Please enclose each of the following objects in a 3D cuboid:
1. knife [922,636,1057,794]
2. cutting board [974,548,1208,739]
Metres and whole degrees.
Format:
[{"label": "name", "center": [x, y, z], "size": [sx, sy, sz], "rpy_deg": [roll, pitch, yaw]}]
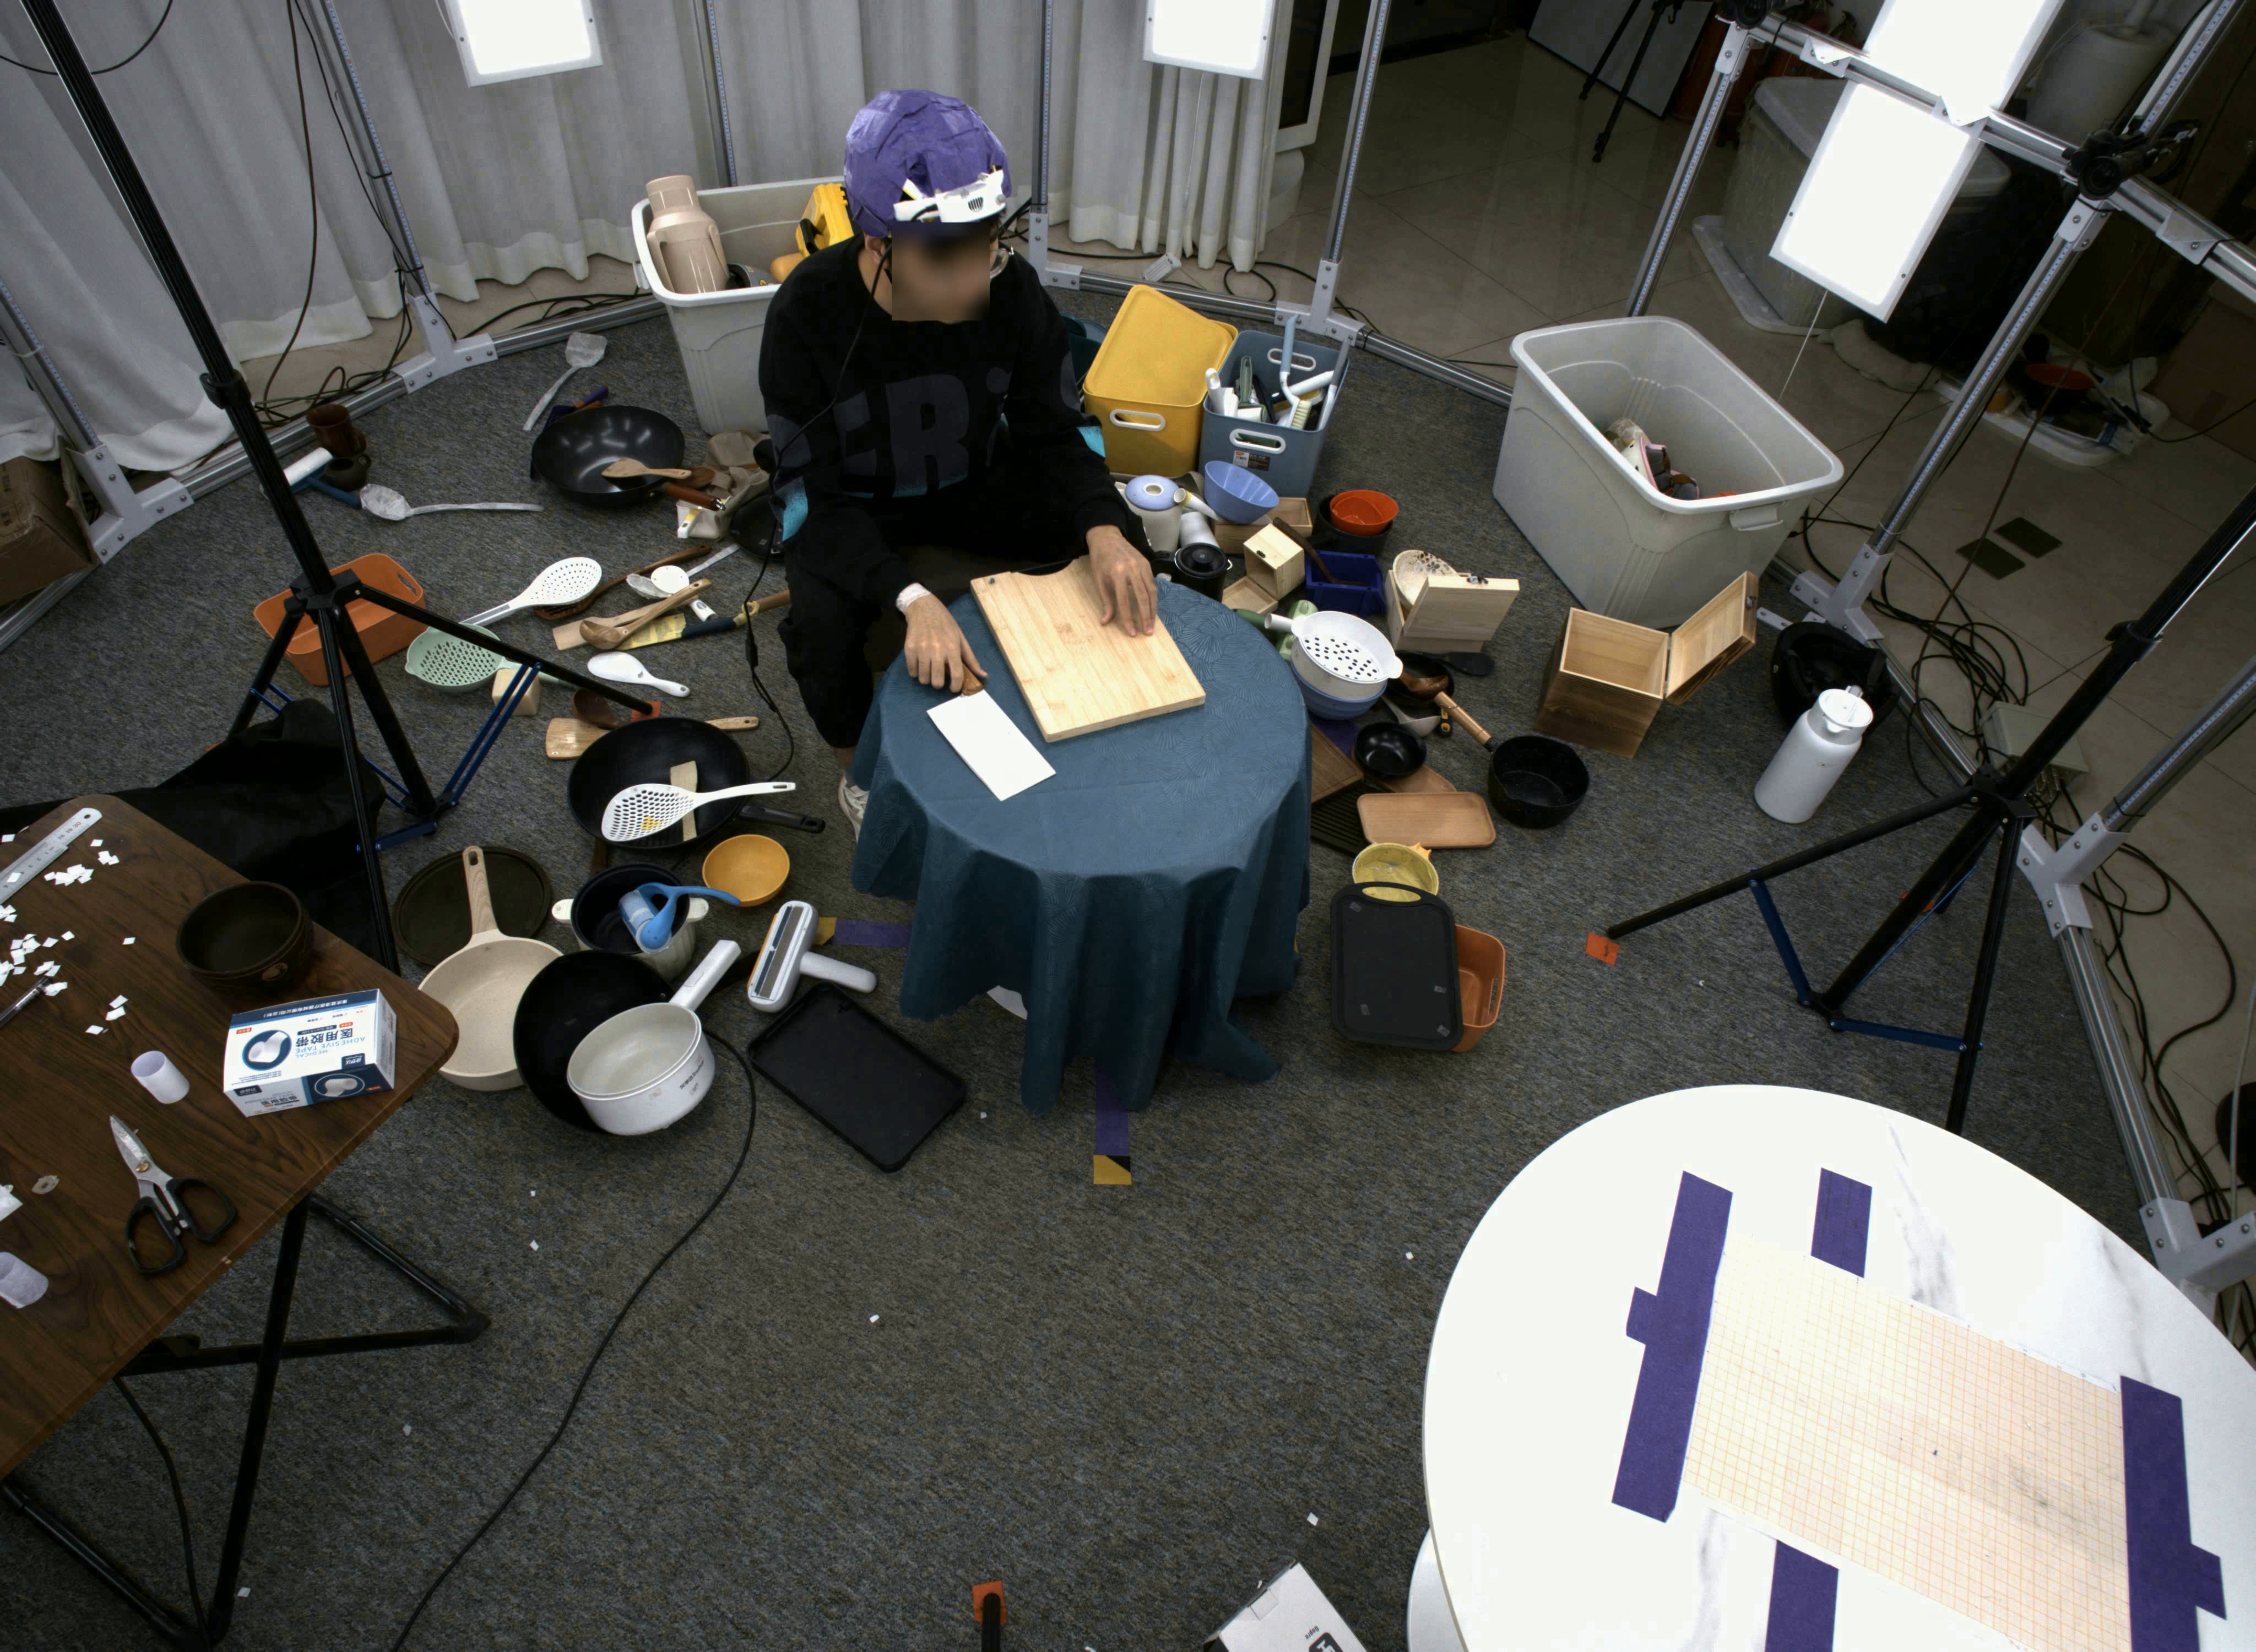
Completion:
[{"label": "knife", "center": [-0.216, -0.154, 1.778], "size": [0.093, 0.020, 0.311], "rpy_deg": [-28, 58, -23]}, {"label": "cutting board", "center": [-0.060, -0.276, 1.894], "size": [0.251, 0.023, 0.357], "rpy_deg": [-15, 52, -17]}]
